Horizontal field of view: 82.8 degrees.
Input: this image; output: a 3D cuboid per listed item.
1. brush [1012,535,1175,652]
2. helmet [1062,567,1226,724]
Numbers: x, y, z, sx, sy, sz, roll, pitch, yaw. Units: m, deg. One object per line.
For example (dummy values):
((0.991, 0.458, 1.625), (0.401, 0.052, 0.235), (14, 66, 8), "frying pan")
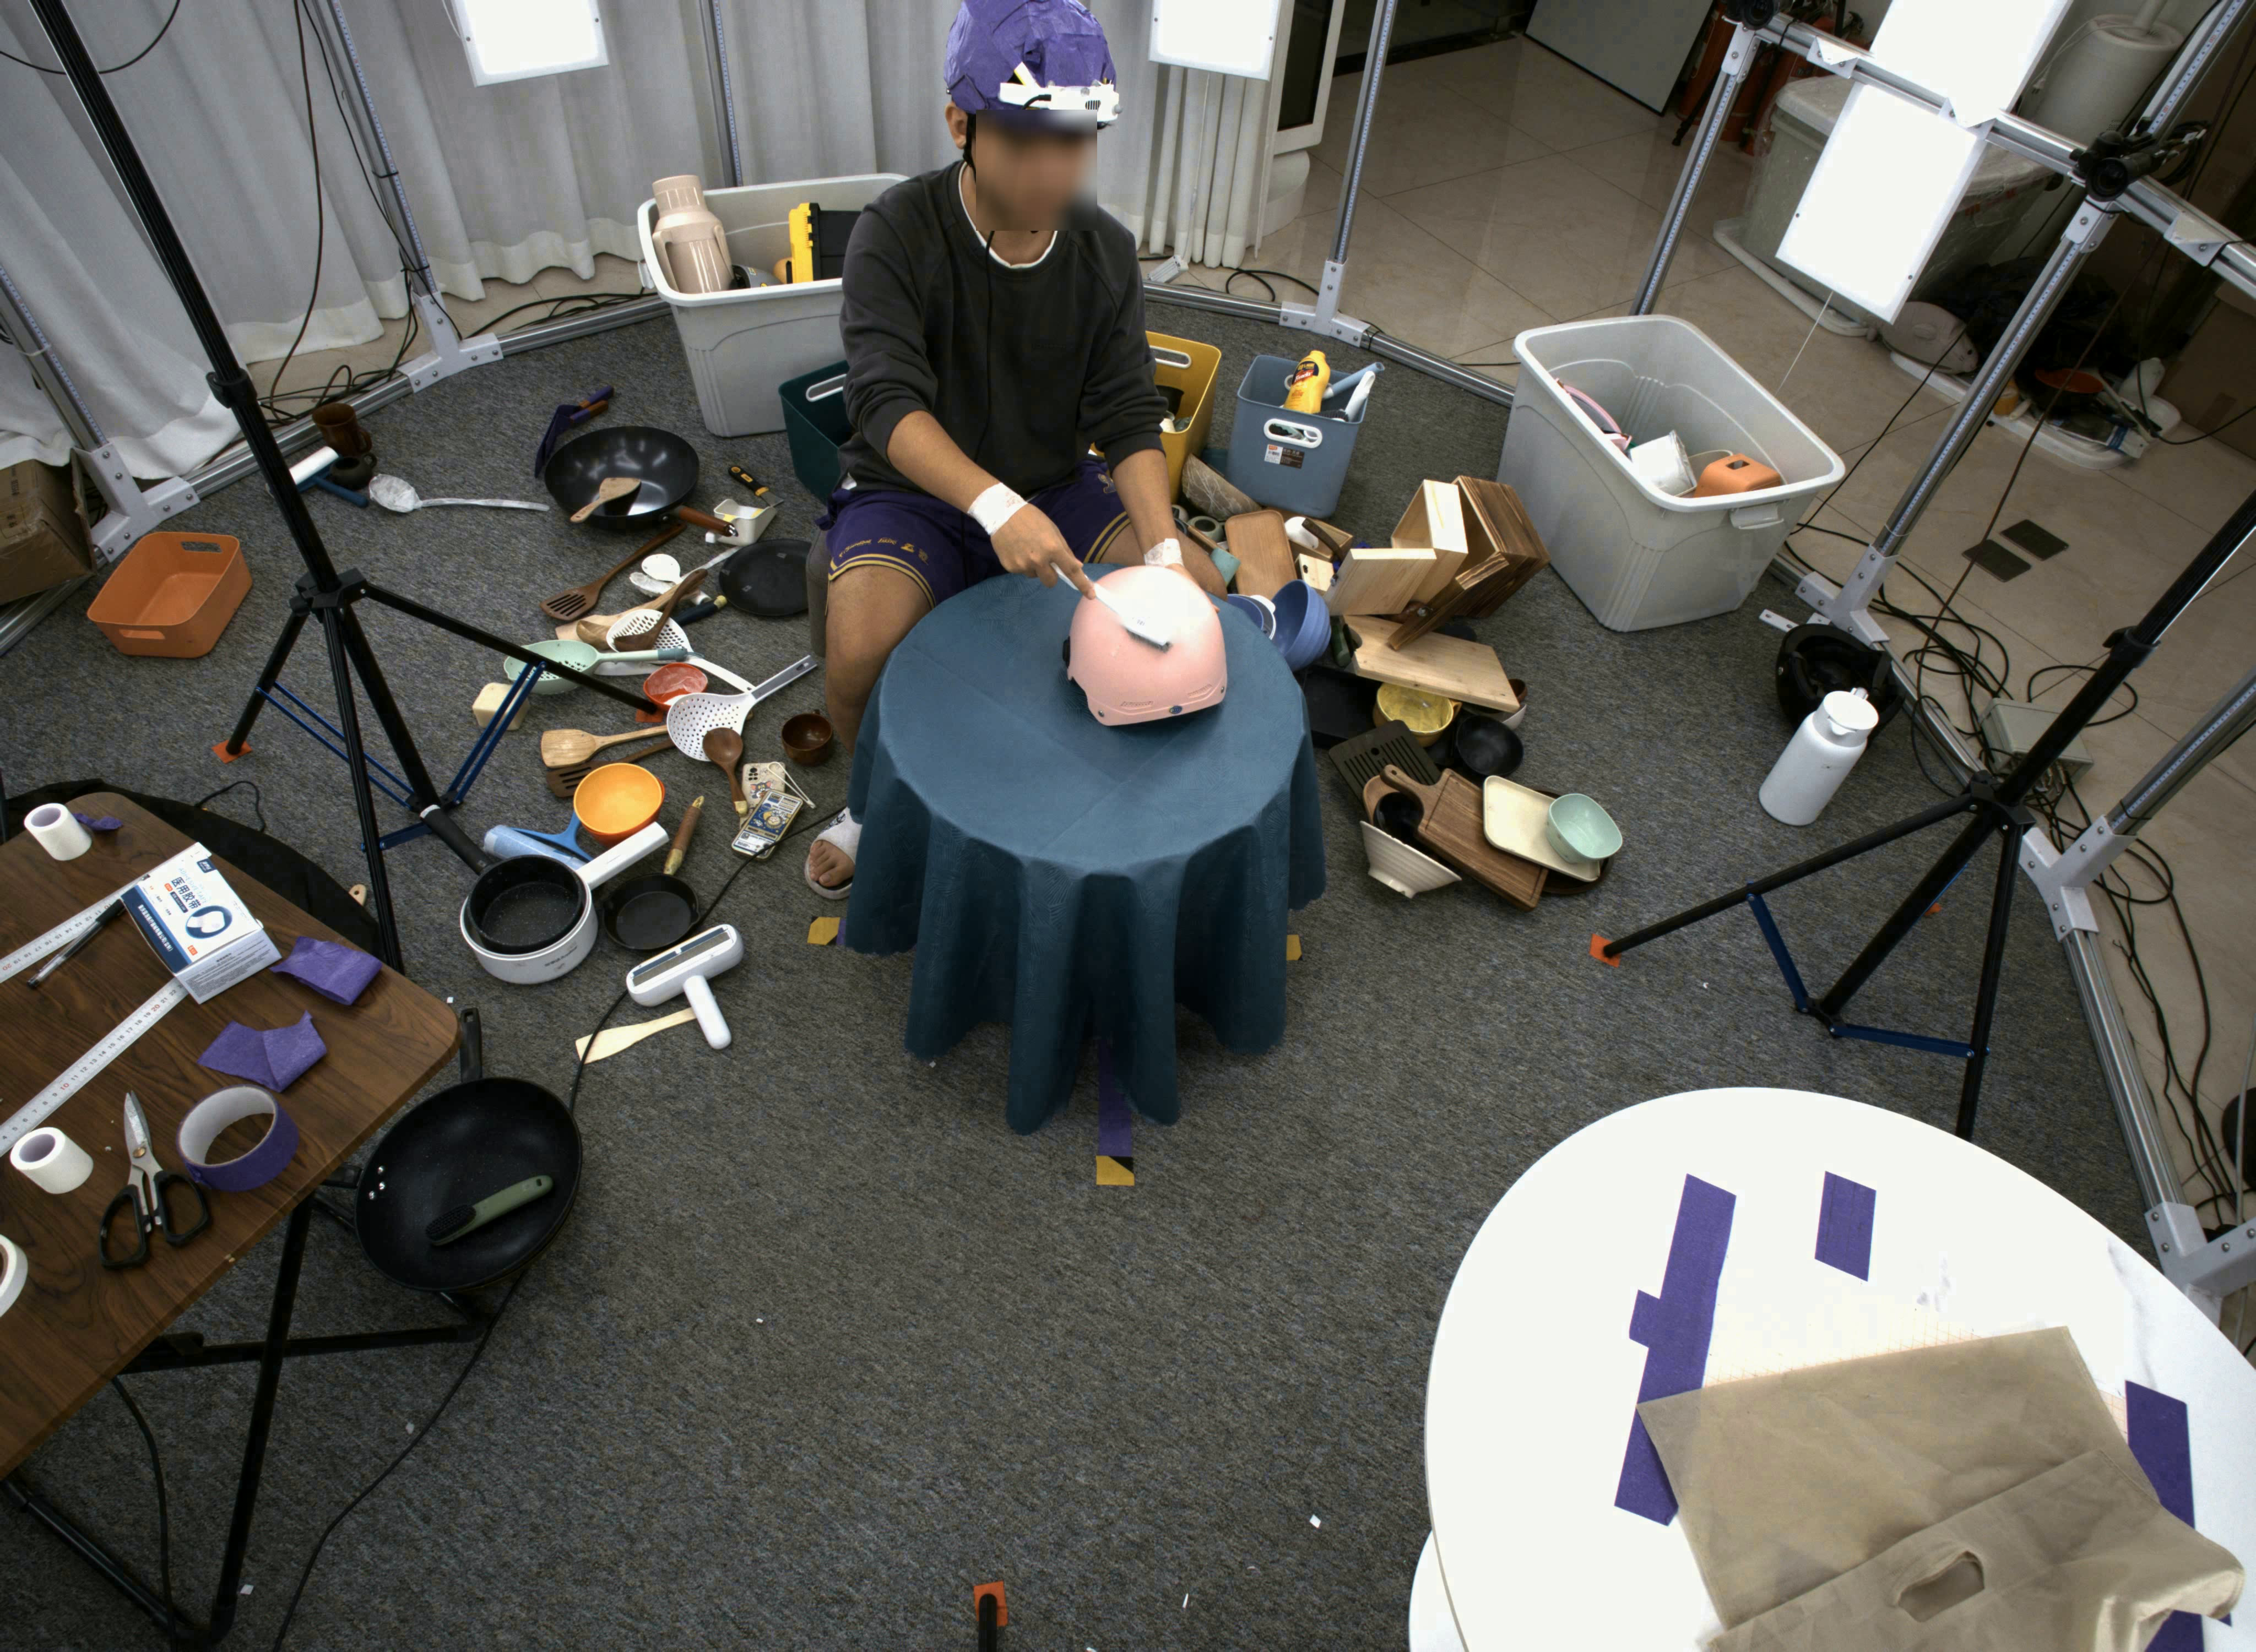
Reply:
((-0.046, -0.301, 1.672), (0.243, 0.050, 0.035), (30, 72, -2), "brush")
((0.022, -0.277, 1.803), (0.234, 0.155, 0.272), (-13, 47, -8), "helmet")
